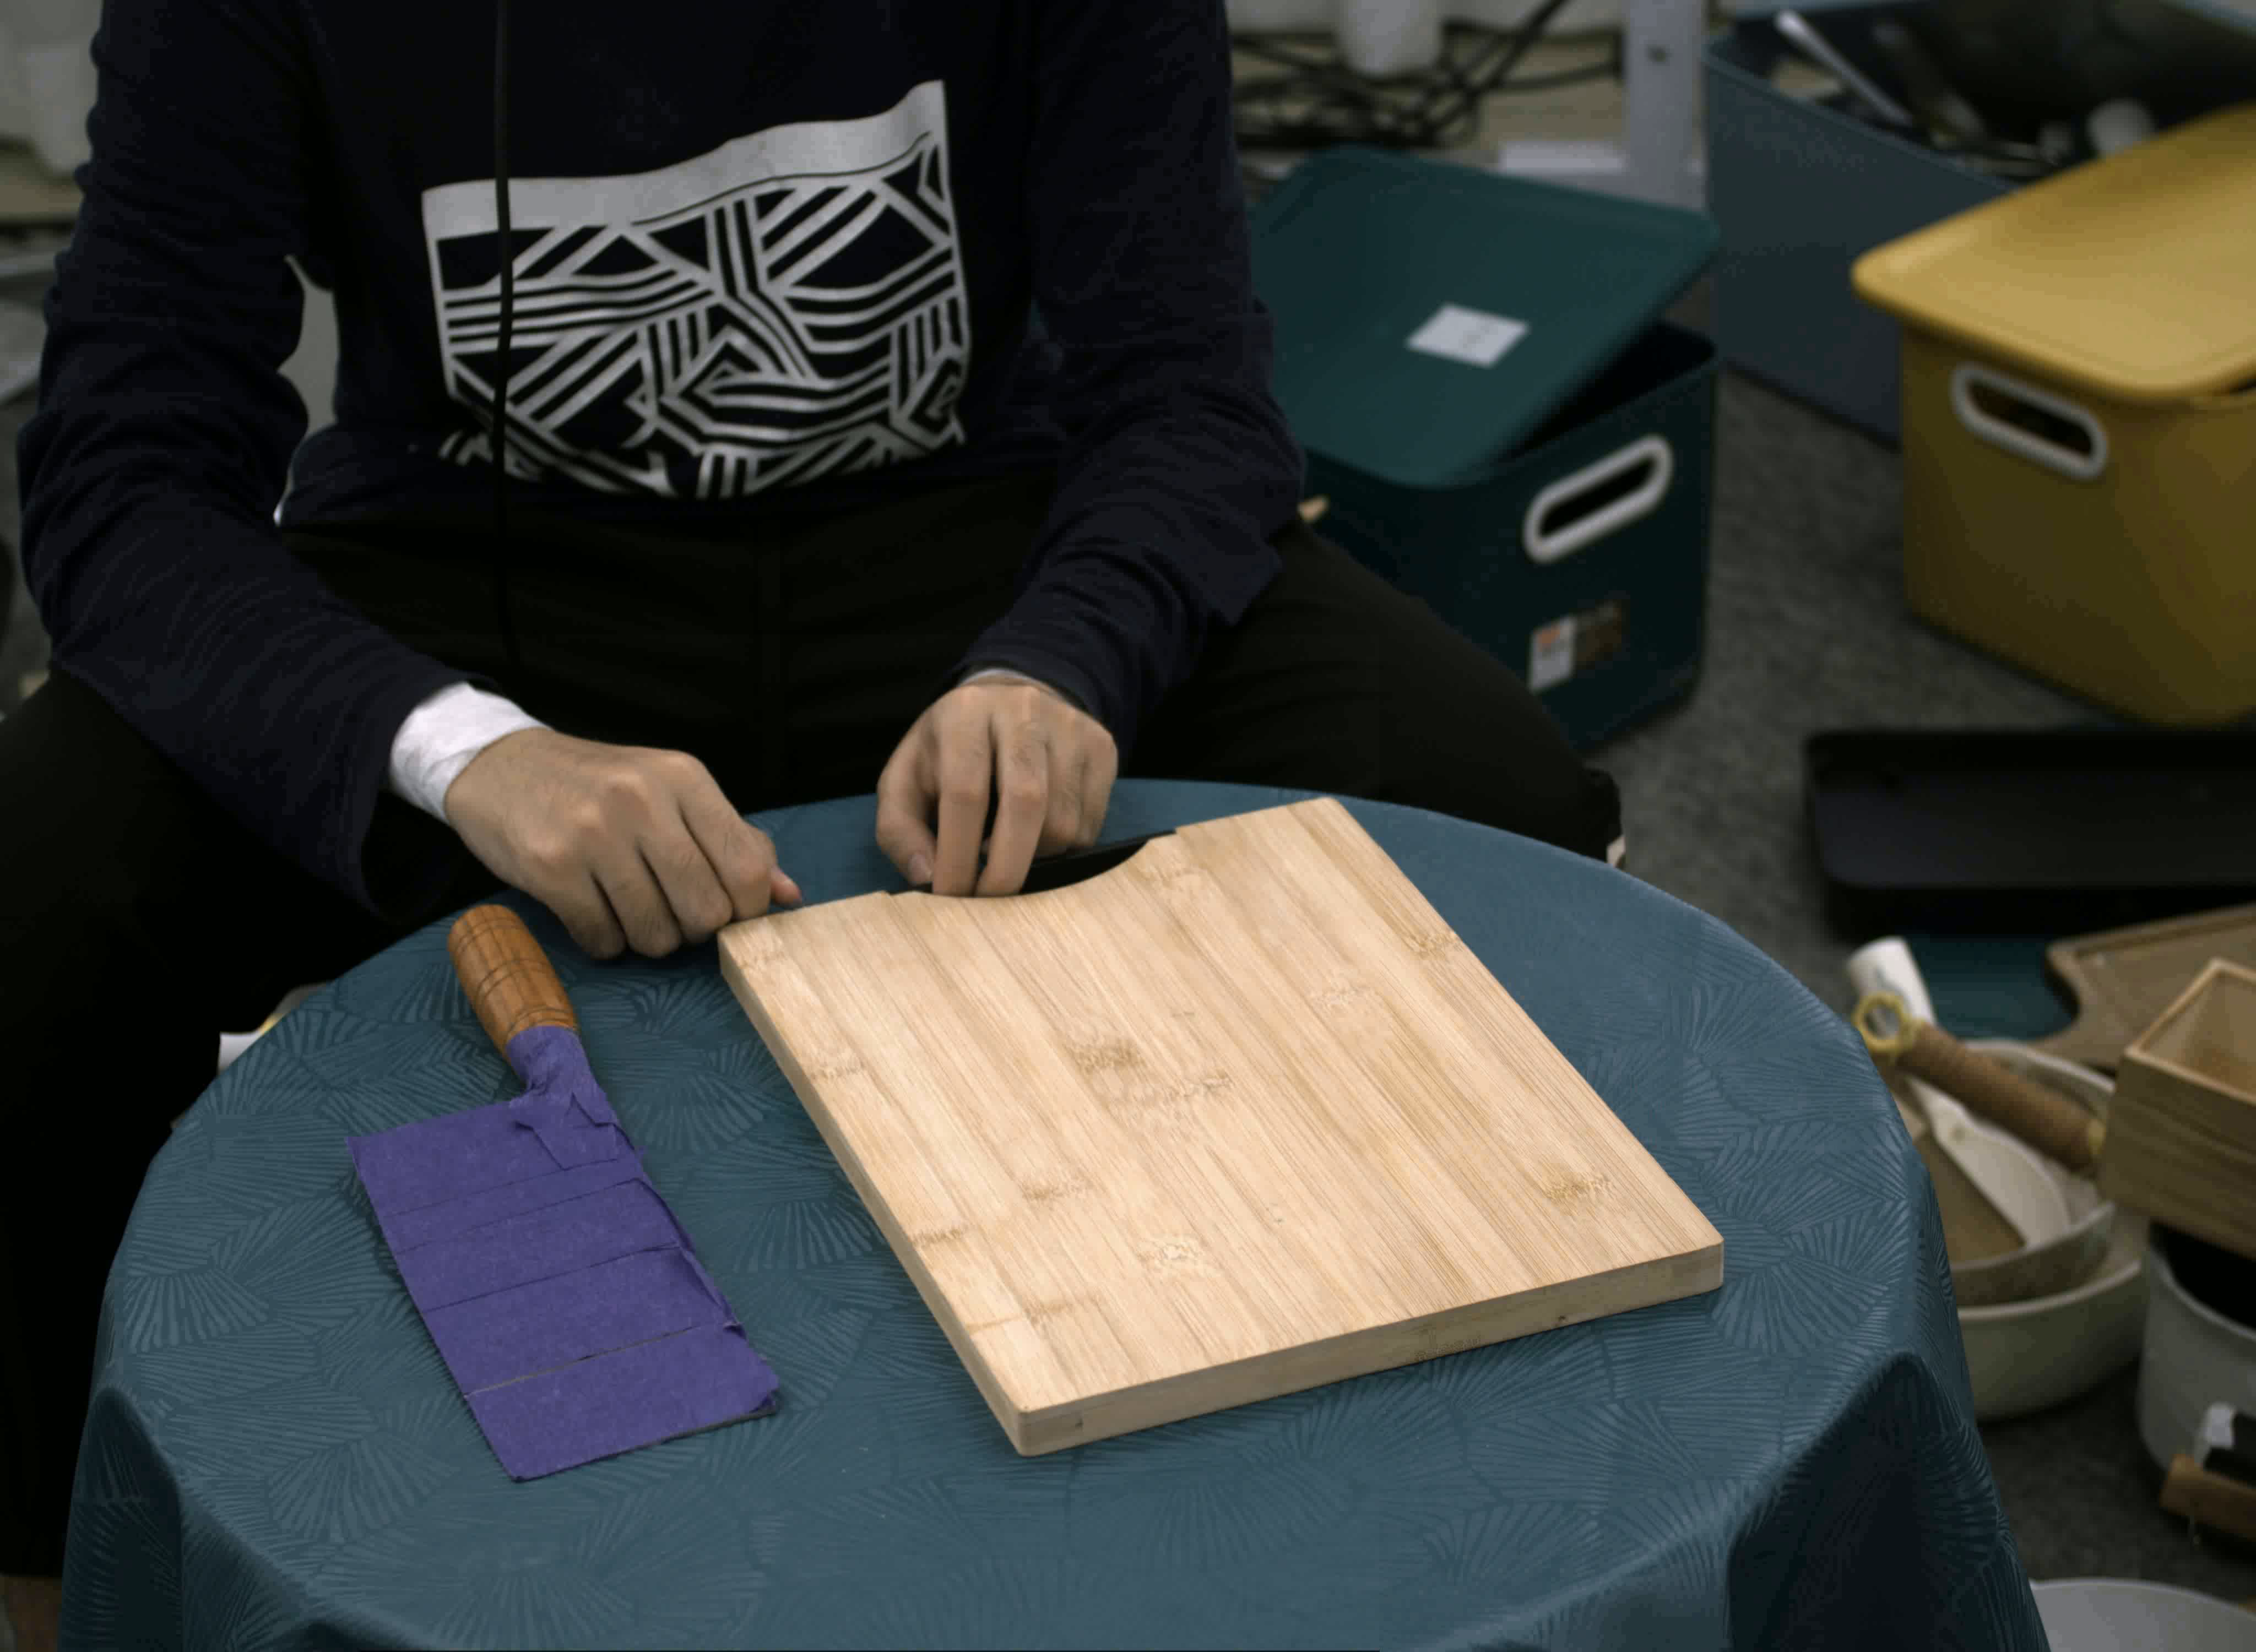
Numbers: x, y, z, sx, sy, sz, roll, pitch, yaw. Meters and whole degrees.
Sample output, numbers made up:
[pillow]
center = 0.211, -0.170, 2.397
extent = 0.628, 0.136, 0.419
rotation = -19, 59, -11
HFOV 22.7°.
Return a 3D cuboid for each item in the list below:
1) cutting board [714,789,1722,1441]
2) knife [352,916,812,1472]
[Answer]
[cutting board]
center = 0.020, 0.090, 1.902
extent = 0.251, 0.023, 0.351
rotation = -12, 28, -17
[knife]
center = -0.203, 0.117, 1.860
extent = 0.104, 0.032, 0.318
rotation = -12, 29, -18
